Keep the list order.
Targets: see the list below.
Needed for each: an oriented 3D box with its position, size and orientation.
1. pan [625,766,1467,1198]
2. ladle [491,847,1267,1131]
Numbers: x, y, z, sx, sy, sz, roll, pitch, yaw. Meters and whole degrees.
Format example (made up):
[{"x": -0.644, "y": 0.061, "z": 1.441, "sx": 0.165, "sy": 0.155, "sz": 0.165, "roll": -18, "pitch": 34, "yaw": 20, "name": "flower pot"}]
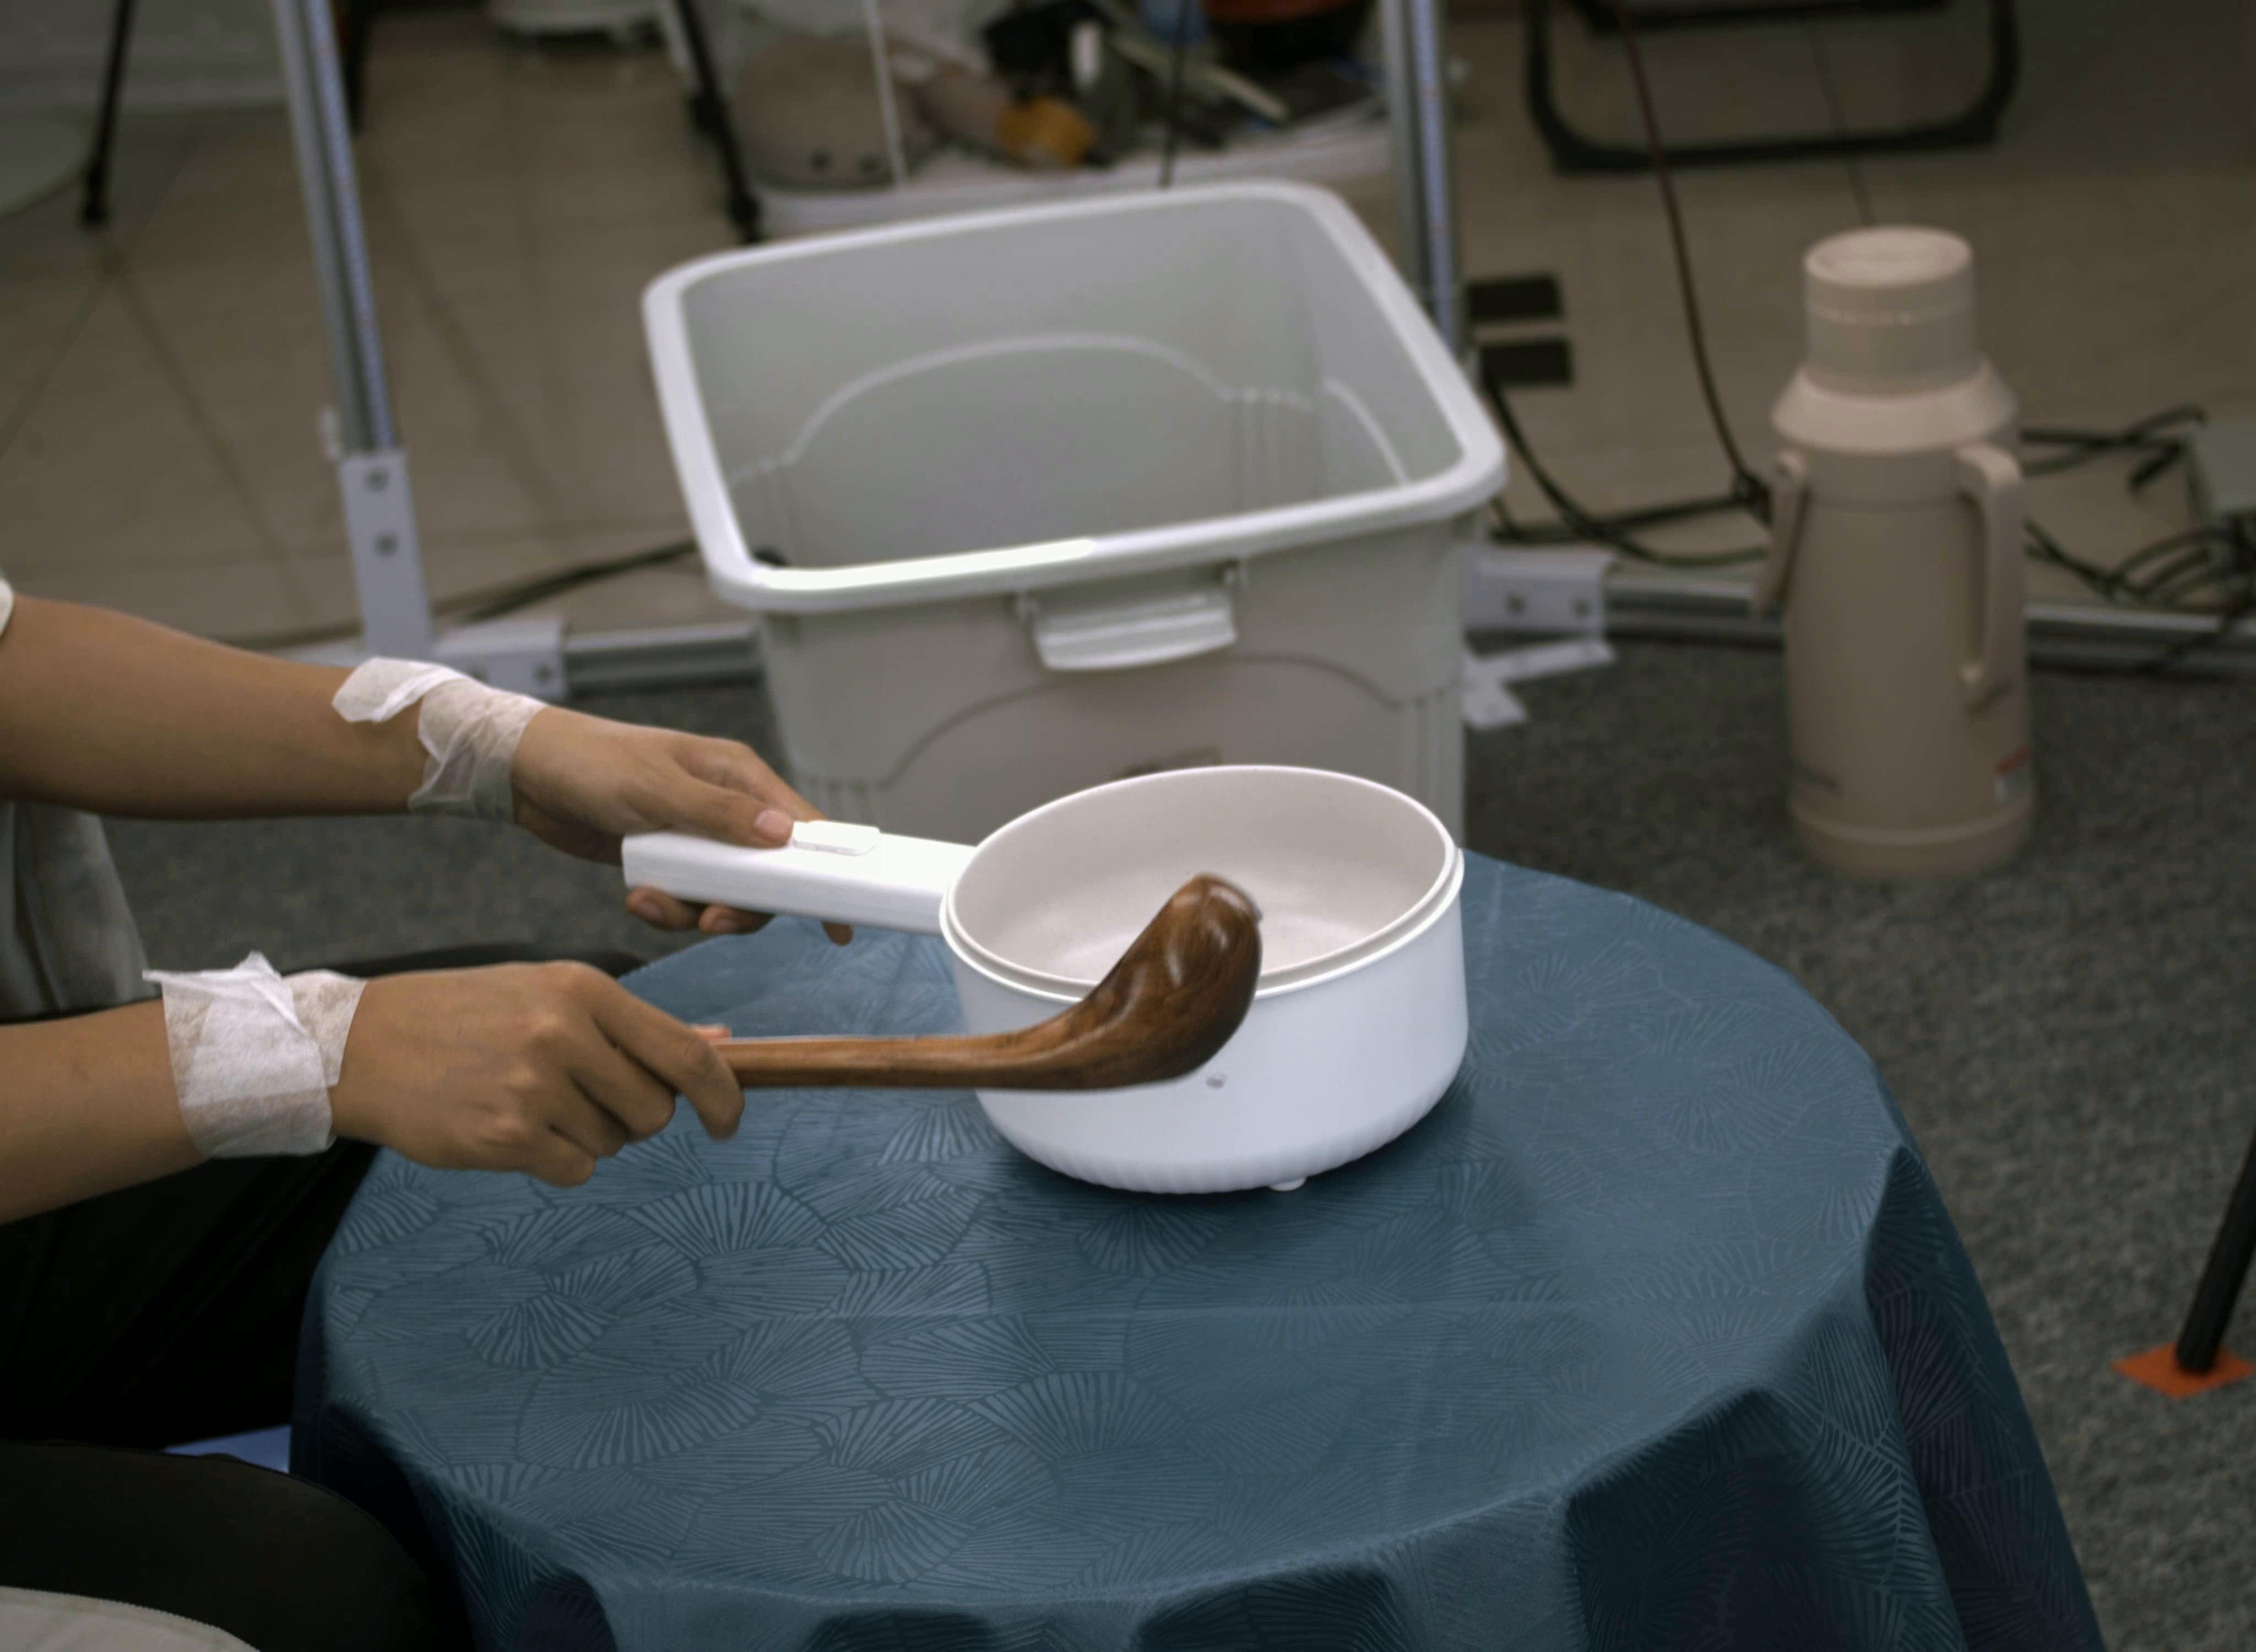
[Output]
[{"x": -0.035, "y": 0.057, "z": 2.221, "sx": 0.353, "sy": 0.104, "sz": 0.198, "roll": 6, "pitch": 29, "yaw": 28, "name": "pan"}, {"x": -0.087, "y": 0.057, "z": 1.984, "sx": 0.273, "sy": 0.083, "sz": 0.075, "roll": -5, "pitch": 46, "yaw": 1, "name": "ladle"}]
